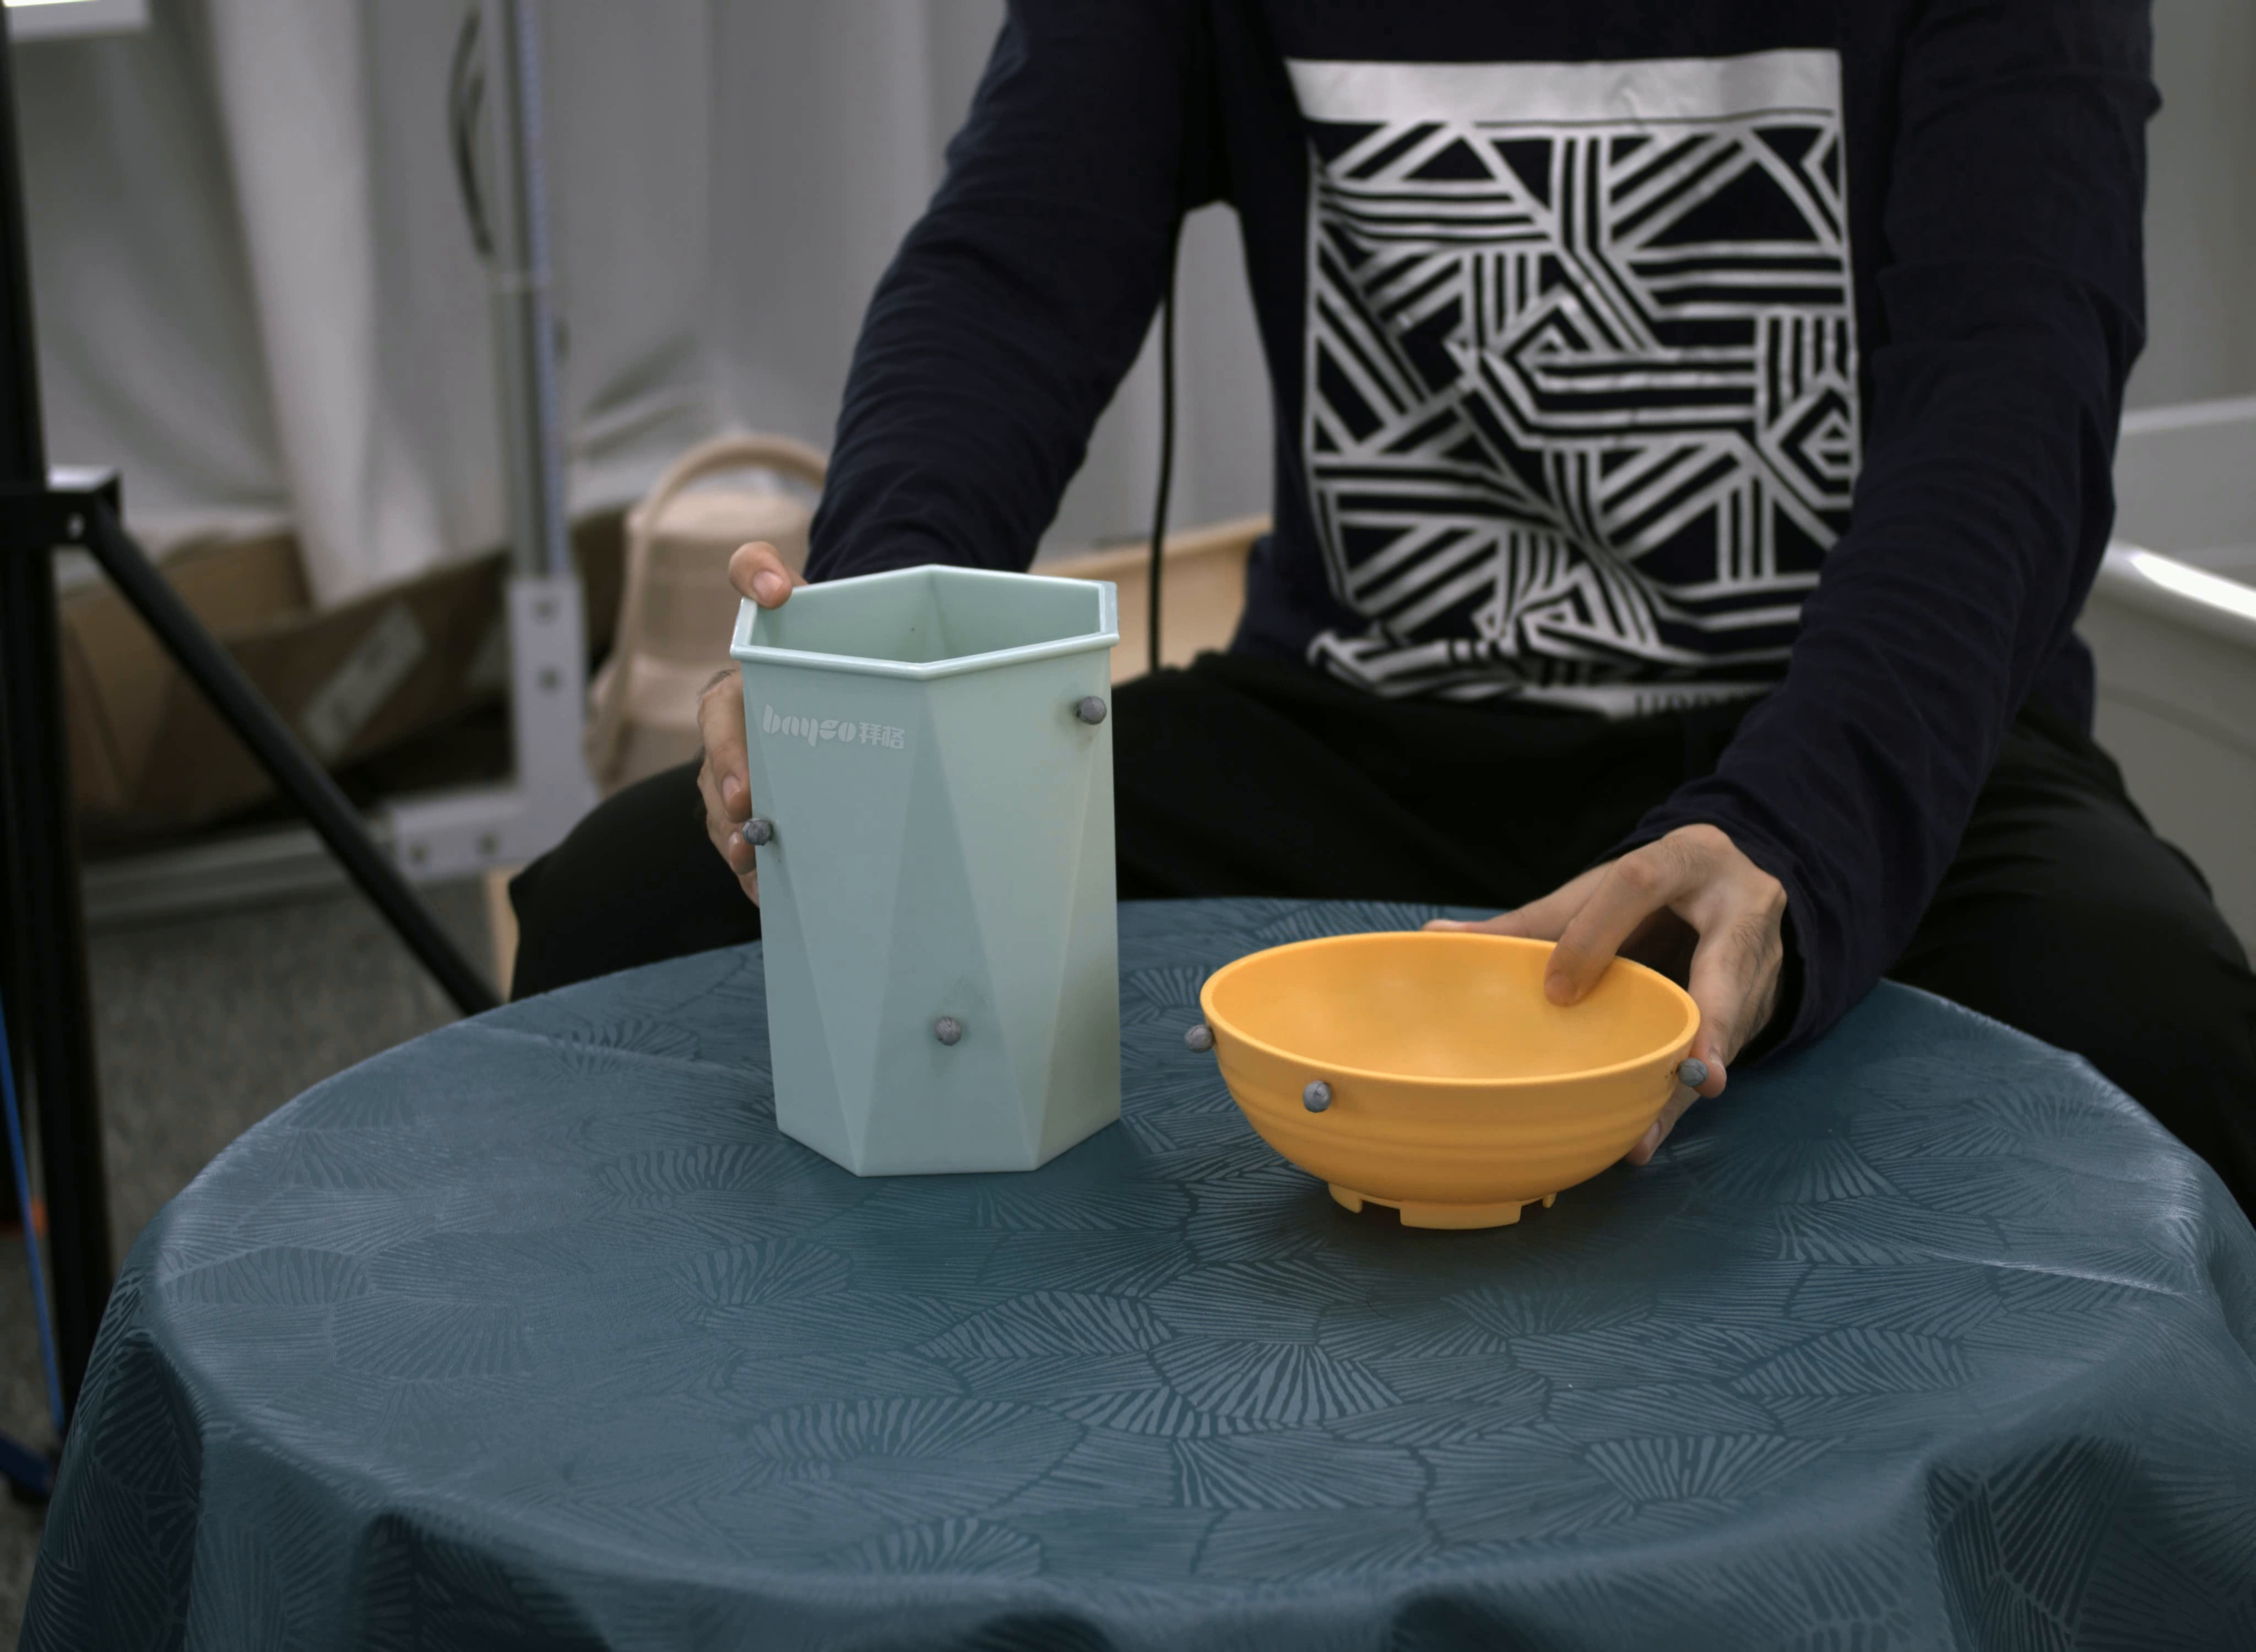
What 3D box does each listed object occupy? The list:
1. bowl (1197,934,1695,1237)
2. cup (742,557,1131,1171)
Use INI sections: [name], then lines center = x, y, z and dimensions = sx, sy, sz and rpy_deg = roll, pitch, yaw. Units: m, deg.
[bowl]
center = 0.090, 0.080, 1.539
dimensions = 0.144, 0.060, 0.146
rpy_deg = 3, 15, -2
[cup]
center = -0.056, 0.013, 1.606
dimensions = 0.133, 0.163, 0.113
rpy_deg = 7, 16, 28
